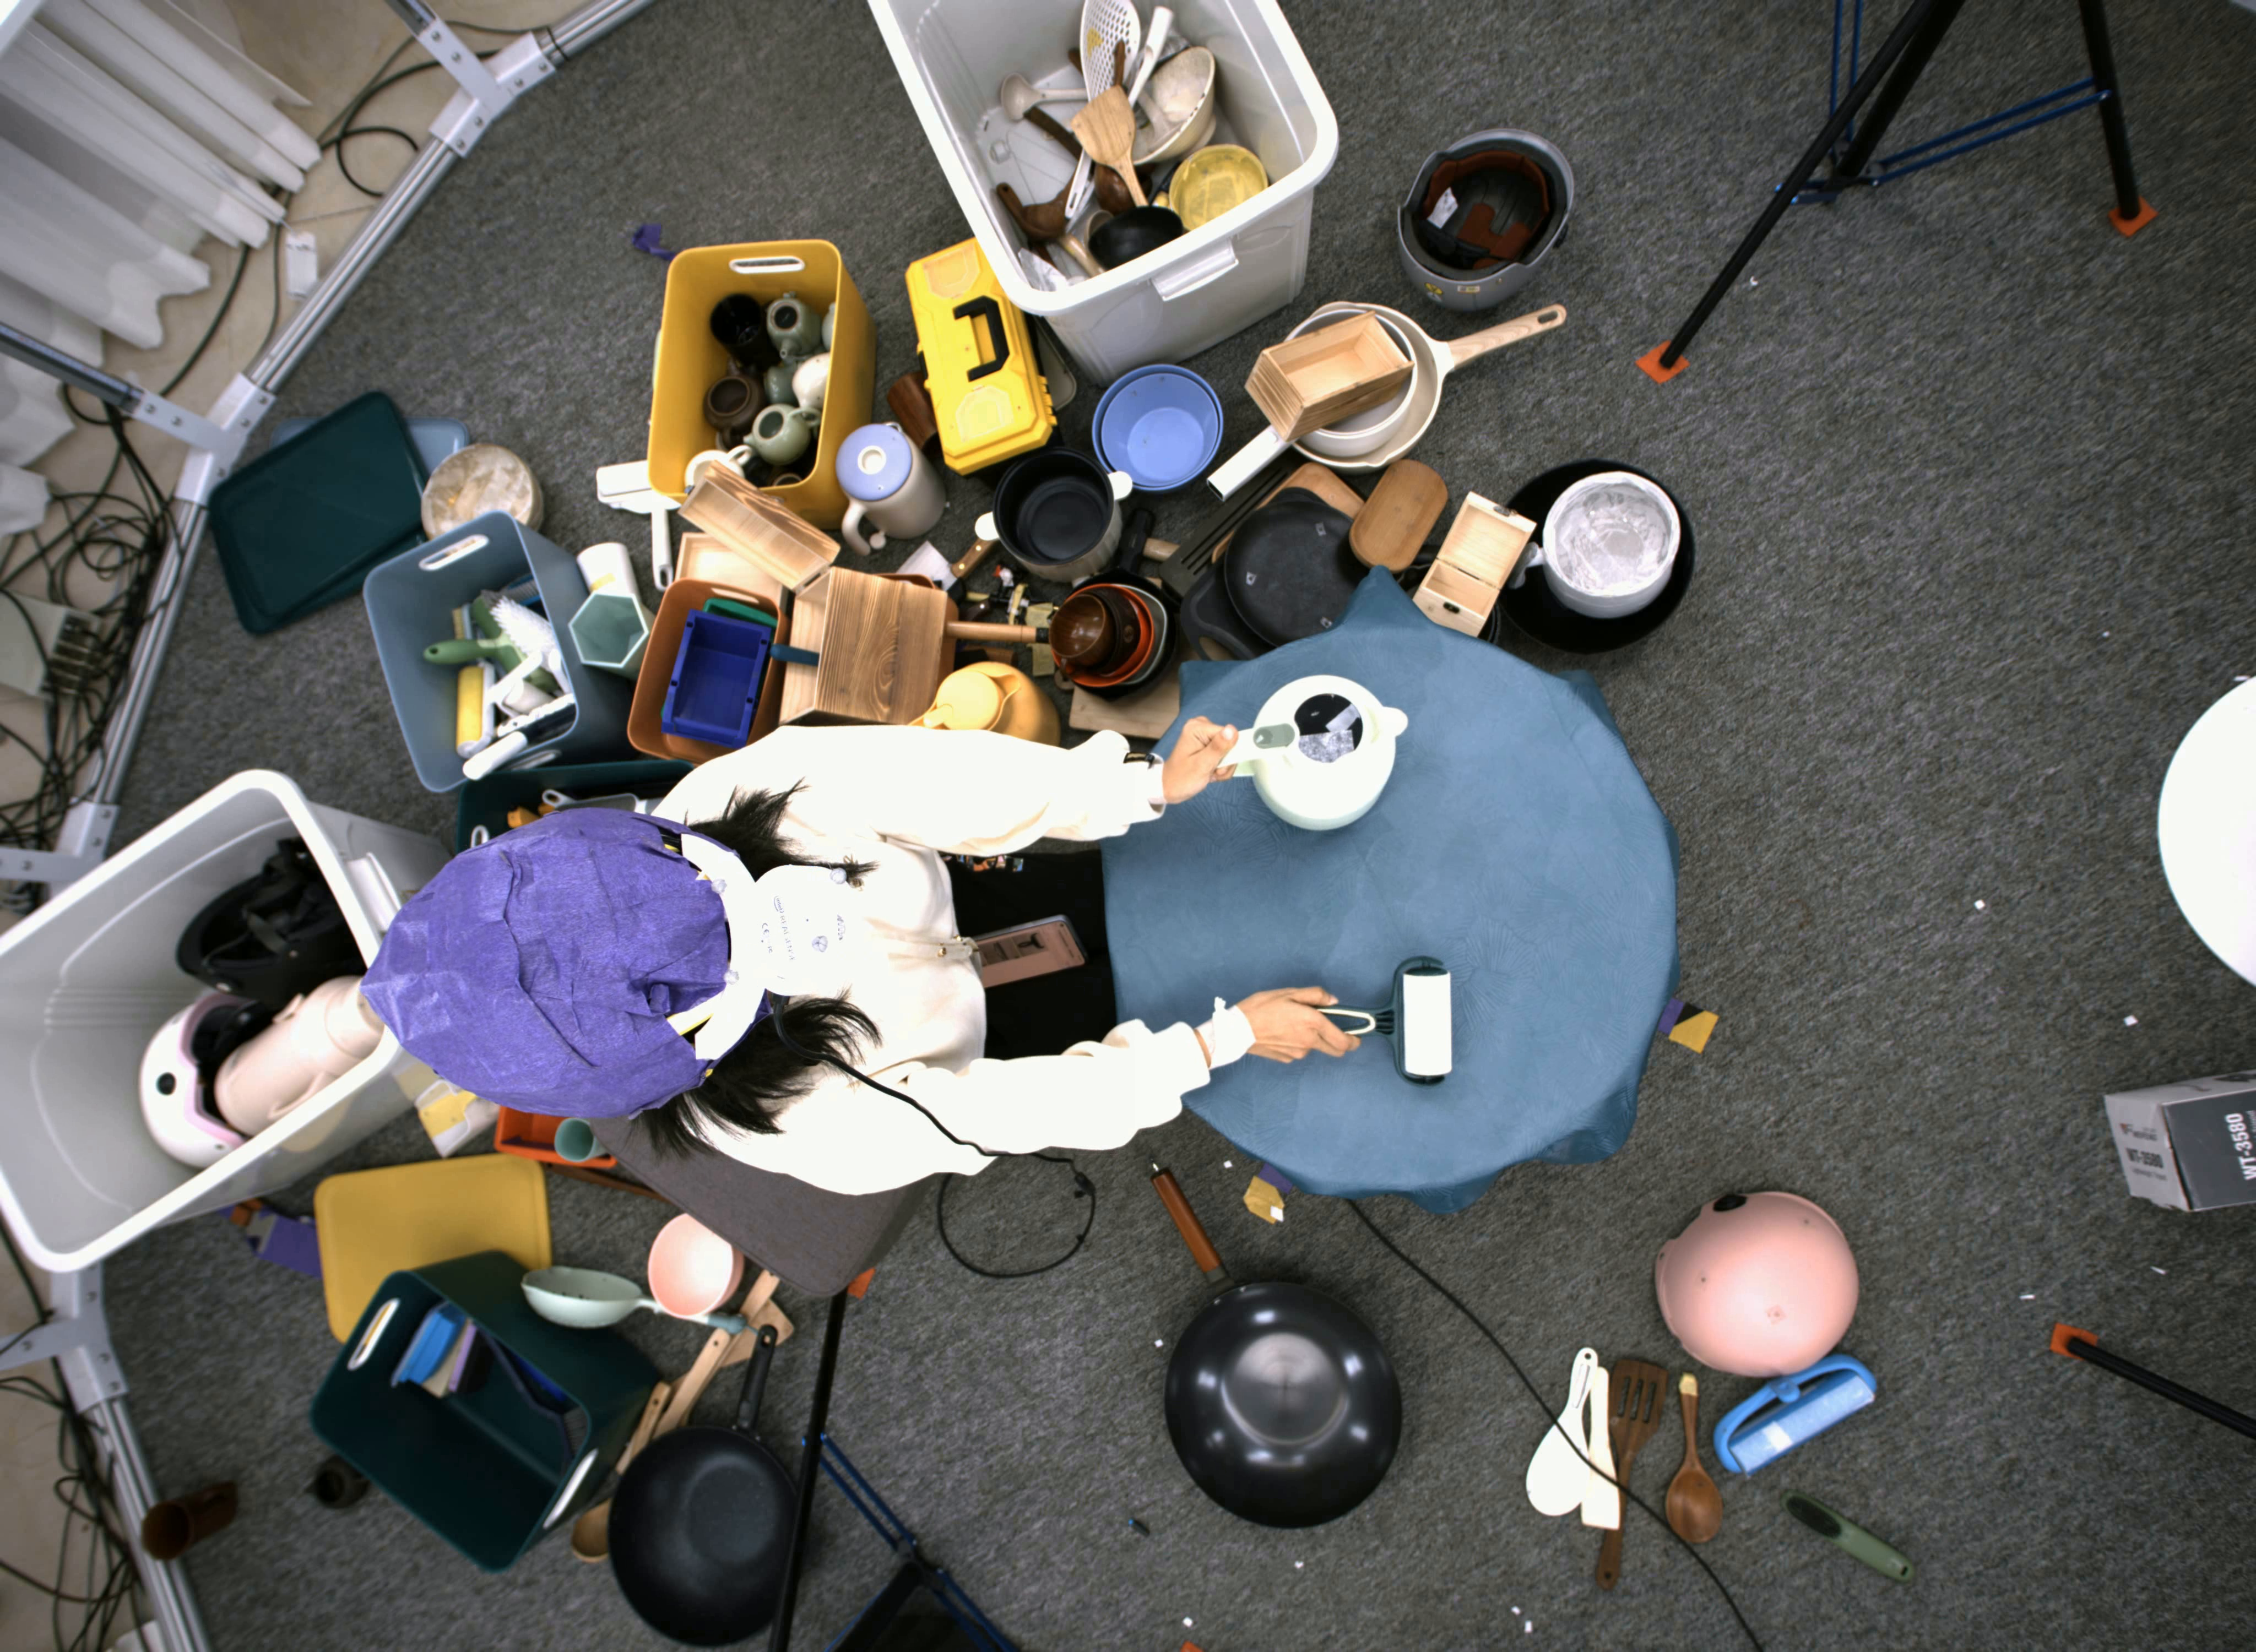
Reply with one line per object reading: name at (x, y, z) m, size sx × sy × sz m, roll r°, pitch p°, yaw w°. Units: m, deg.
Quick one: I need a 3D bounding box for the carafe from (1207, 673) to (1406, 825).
carafe at (0.175, -0.077, 1.343) m, size 0.188 × 0.256 × 0.144 m, roll -8°, pitch 87°, yaw 10°

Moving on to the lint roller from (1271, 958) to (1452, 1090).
lint roller at (0.237, 0.199, 1.397) m, size 0.180 × 0.048 × 0.135 m, roll -2°, pitch 96°, yaw 0°
